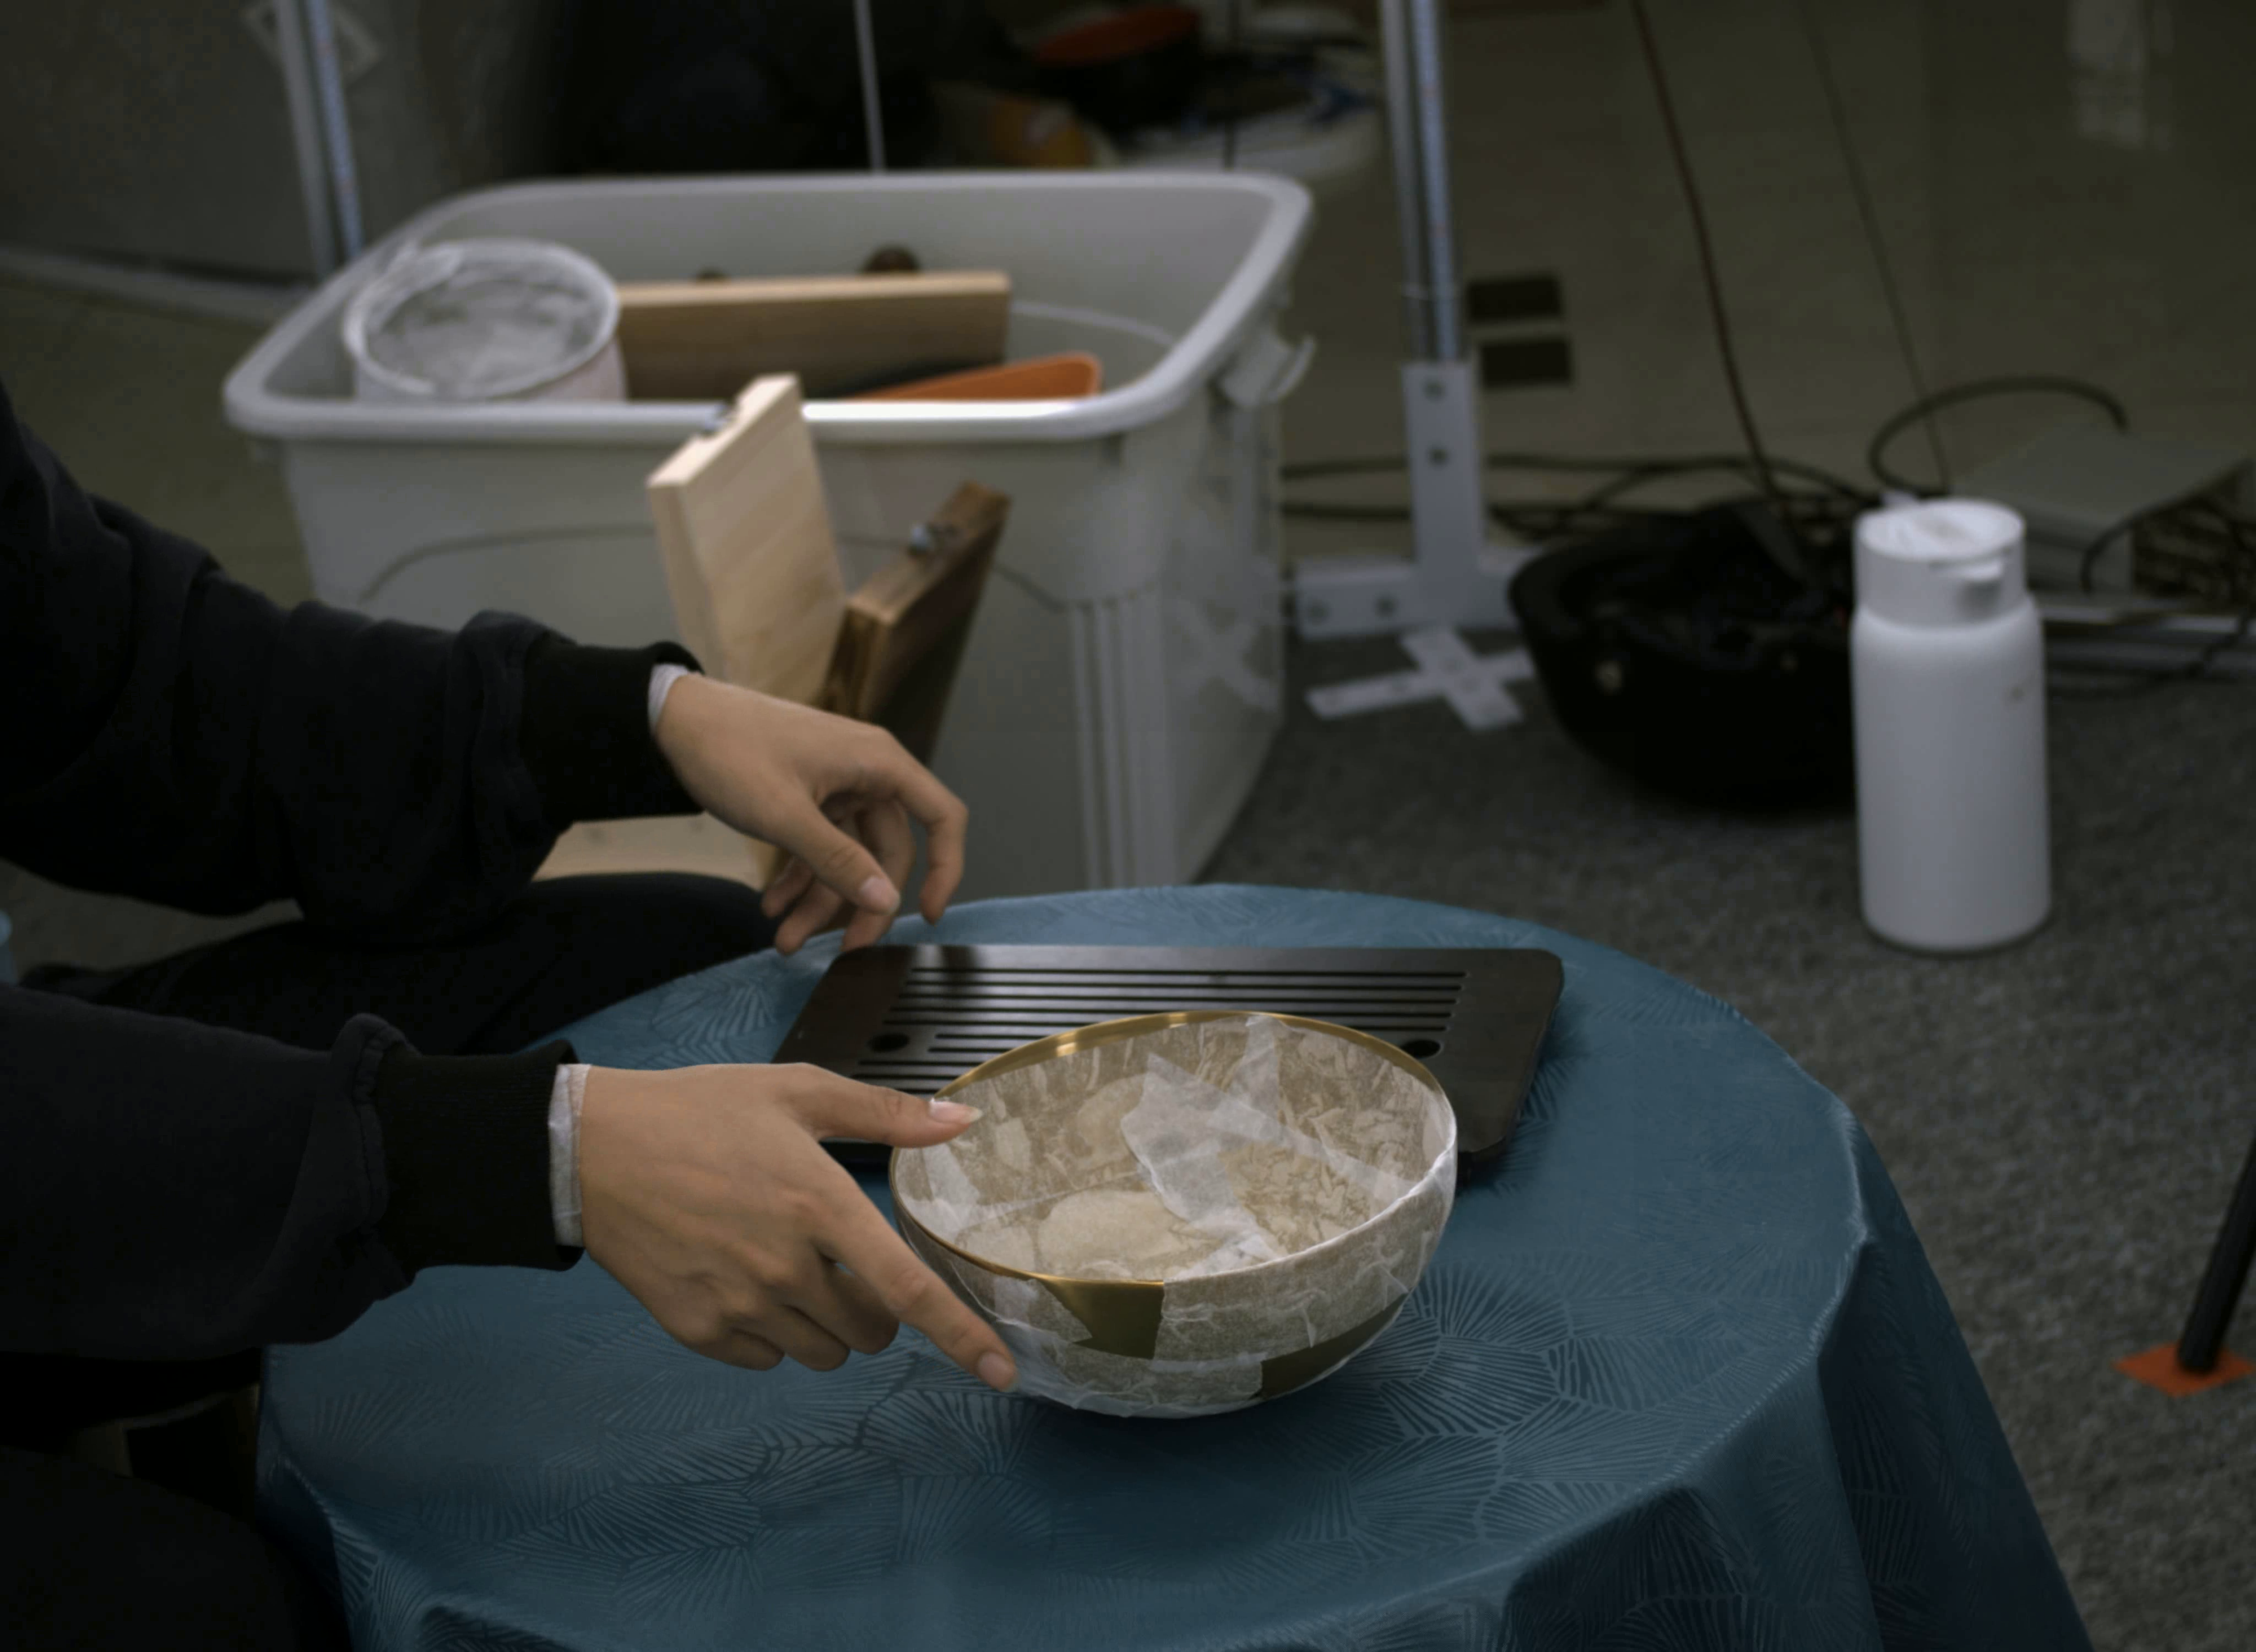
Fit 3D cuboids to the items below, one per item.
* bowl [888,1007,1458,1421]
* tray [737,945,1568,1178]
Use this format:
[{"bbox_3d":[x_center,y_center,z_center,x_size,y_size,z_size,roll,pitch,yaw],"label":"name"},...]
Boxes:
[{"bbox_3d":[0.018,0.149,2.017,0.214,0.096,0.211,-6,26,3],"label":"bowl"},{"bbox_3d":[0.012,0.092,2.230,0.305,0.019,0.168,0,26,14],"label":"tray"}]
